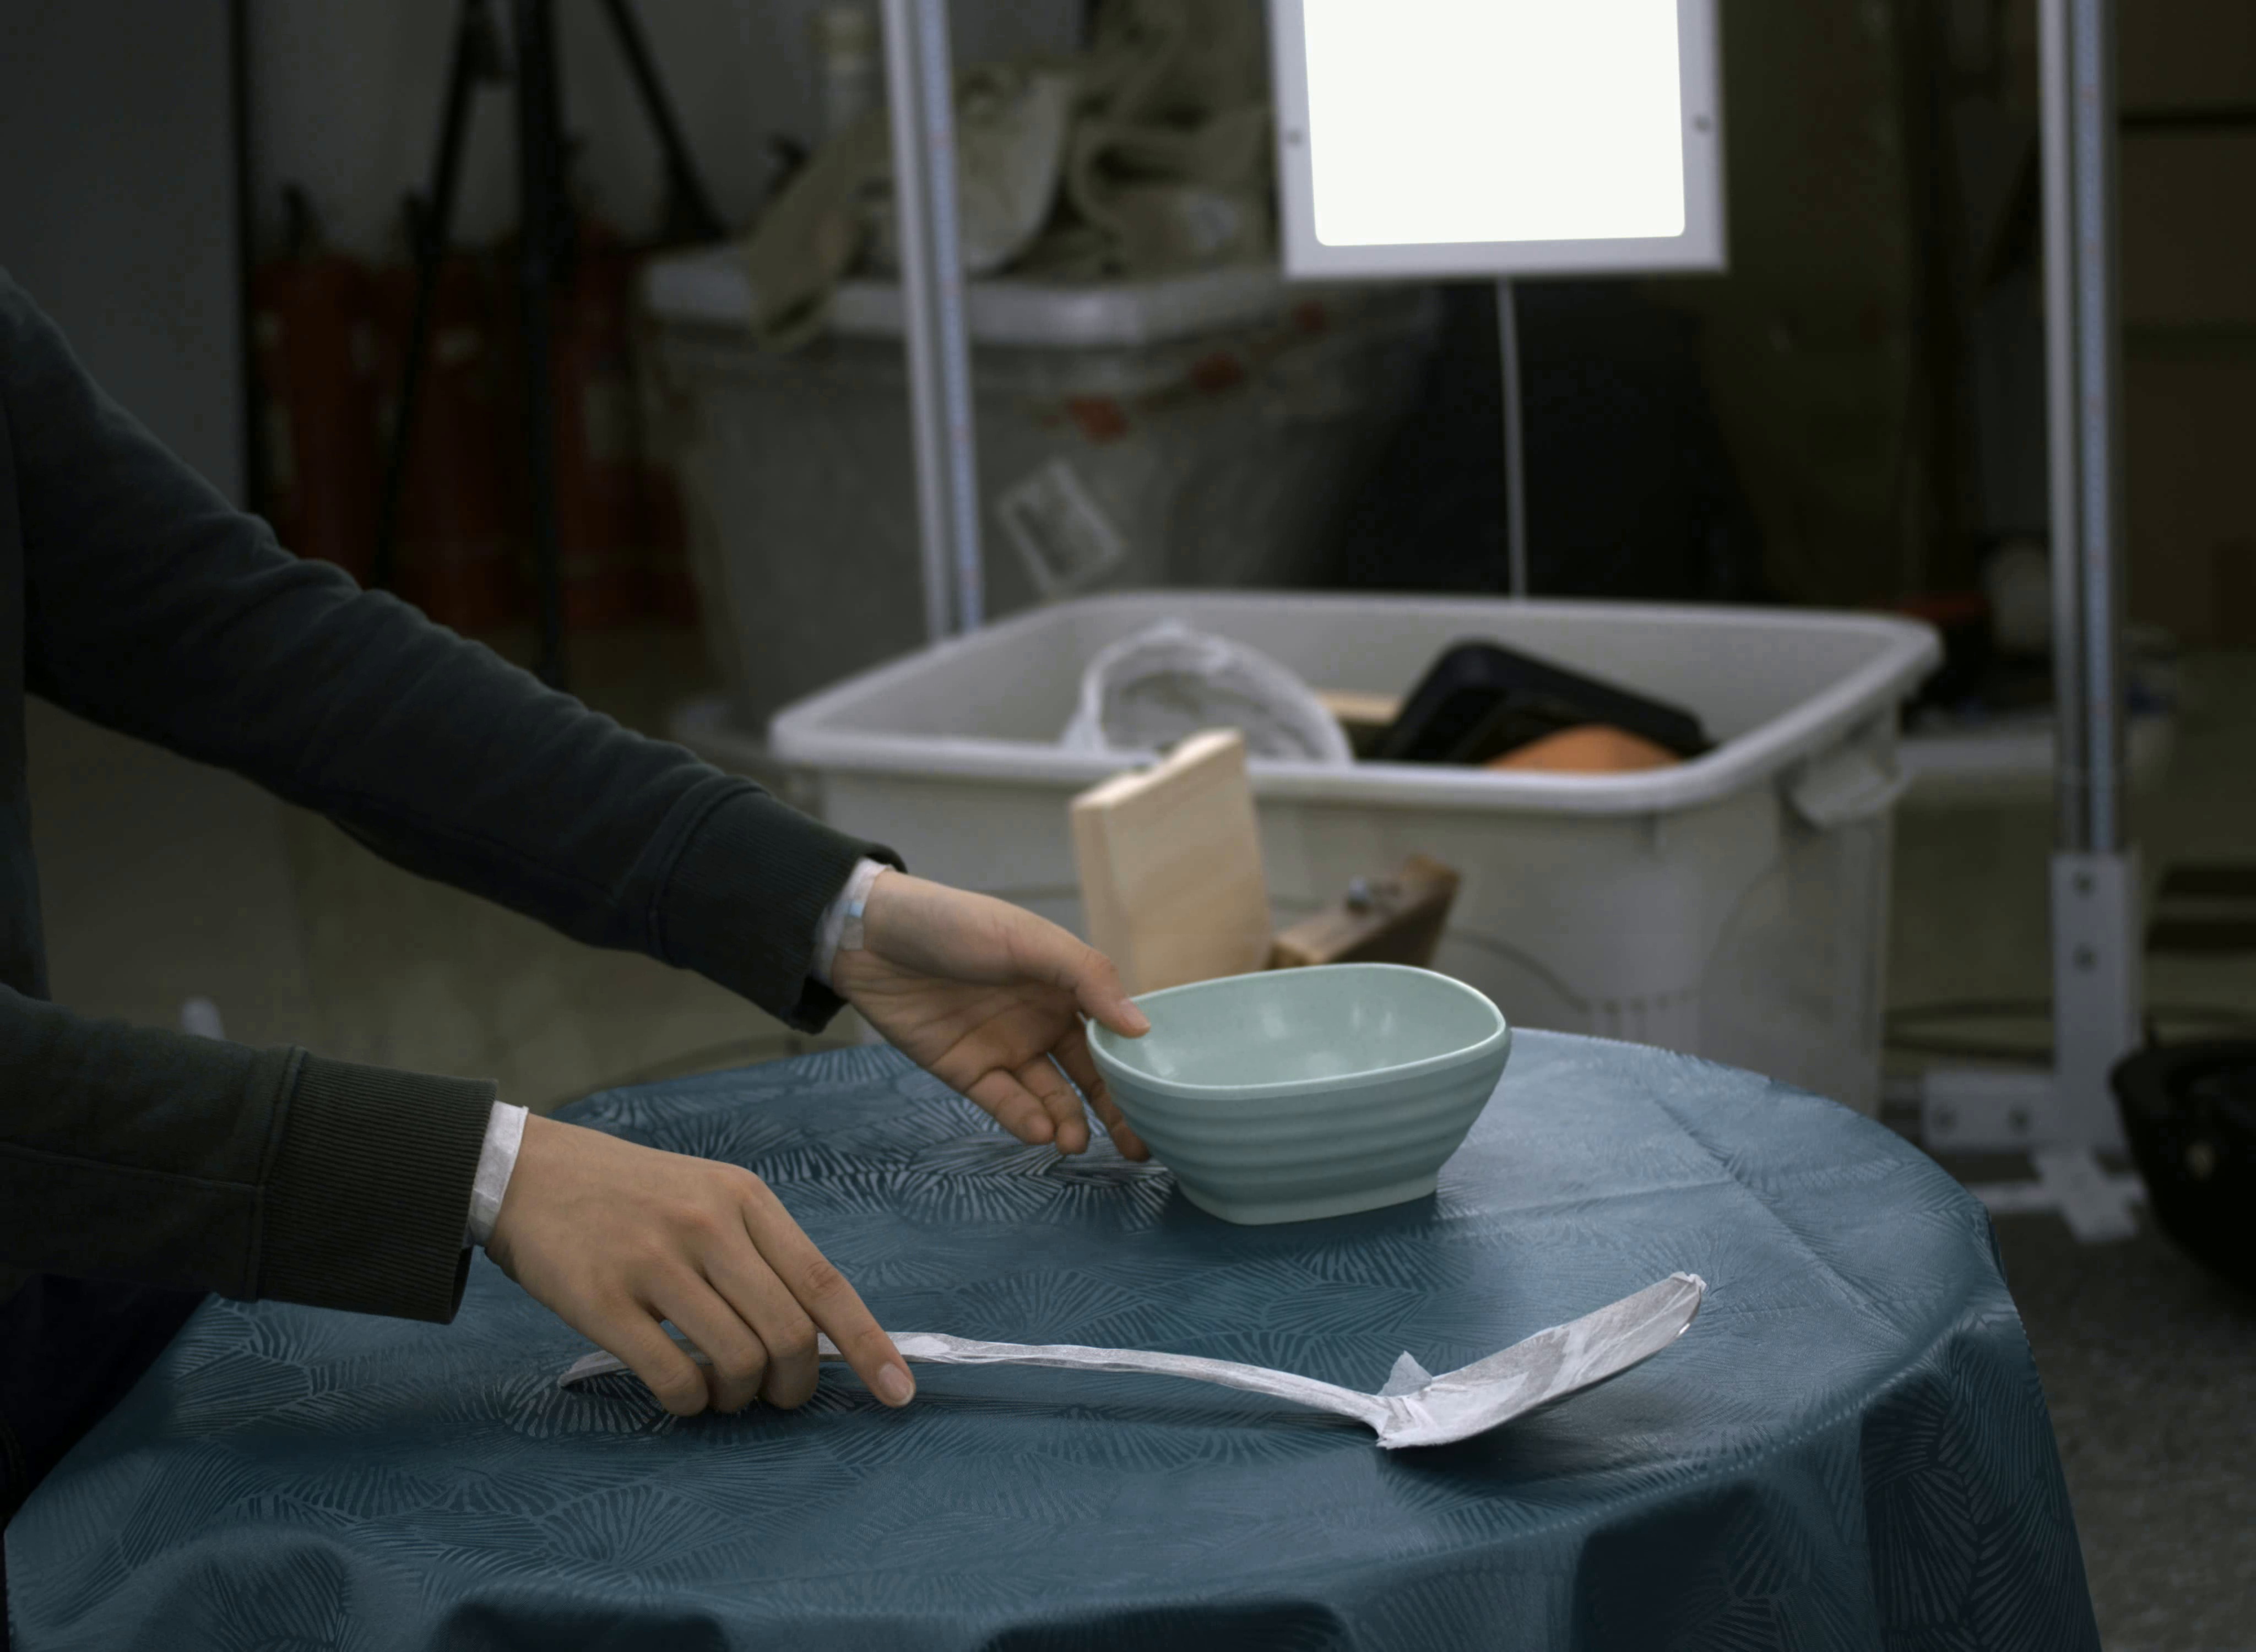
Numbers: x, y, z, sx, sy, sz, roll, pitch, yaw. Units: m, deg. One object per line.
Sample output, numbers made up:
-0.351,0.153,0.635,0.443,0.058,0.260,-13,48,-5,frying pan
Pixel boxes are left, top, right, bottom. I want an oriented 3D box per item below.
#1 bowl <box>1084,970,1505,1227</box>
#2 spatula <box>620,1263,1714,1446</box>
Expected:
0.057,0.096,1.886,0.151,0.059,0.151,-2,14,-1,bowl
0.000,0.158,1.685,0.370,0.045,0.097,1,17,24,spatula
